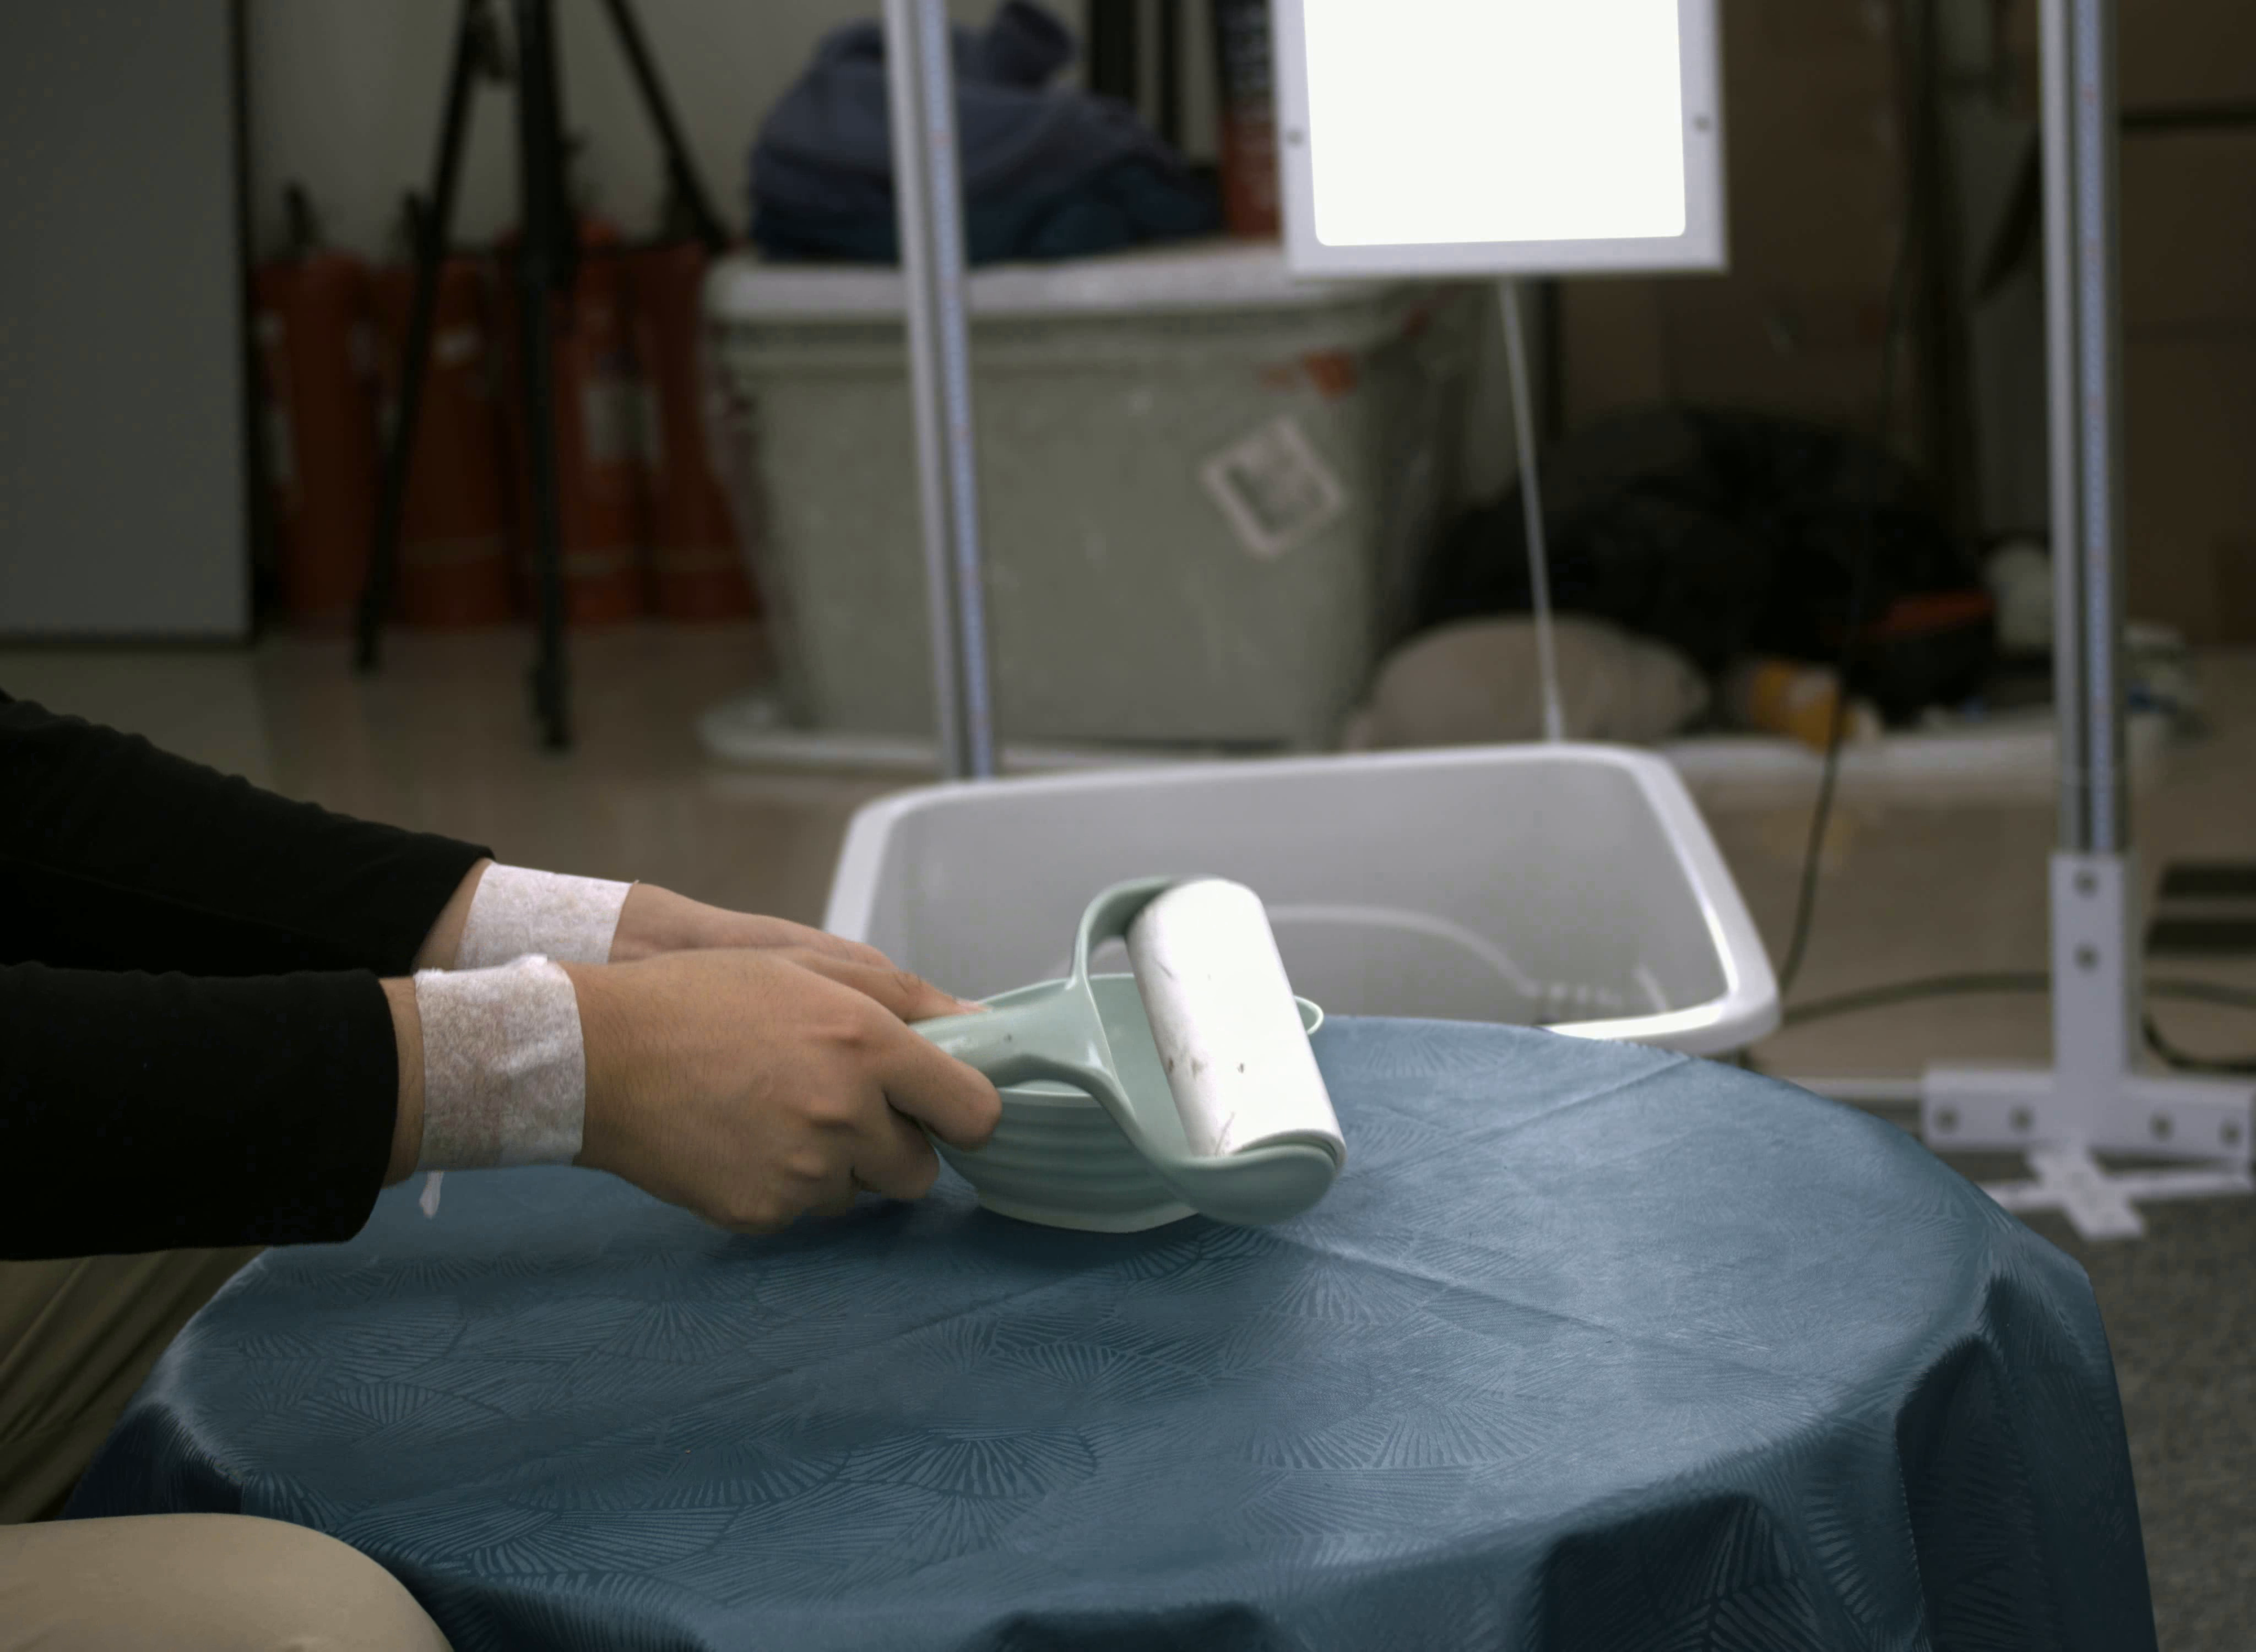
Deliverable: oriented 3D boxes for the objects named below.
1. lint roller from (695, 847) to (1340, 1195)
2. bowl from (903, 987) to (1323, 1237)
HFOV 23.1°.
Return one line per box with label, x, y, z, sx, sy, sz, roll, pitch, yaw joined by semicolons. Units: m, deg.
lint roller;-0.039;0.070;1.729;0.195;0.049;0.117;-7;55;-14
bowl;-0.006;0.100;1.893;0.151;0.059;0.151;-4;13;0
